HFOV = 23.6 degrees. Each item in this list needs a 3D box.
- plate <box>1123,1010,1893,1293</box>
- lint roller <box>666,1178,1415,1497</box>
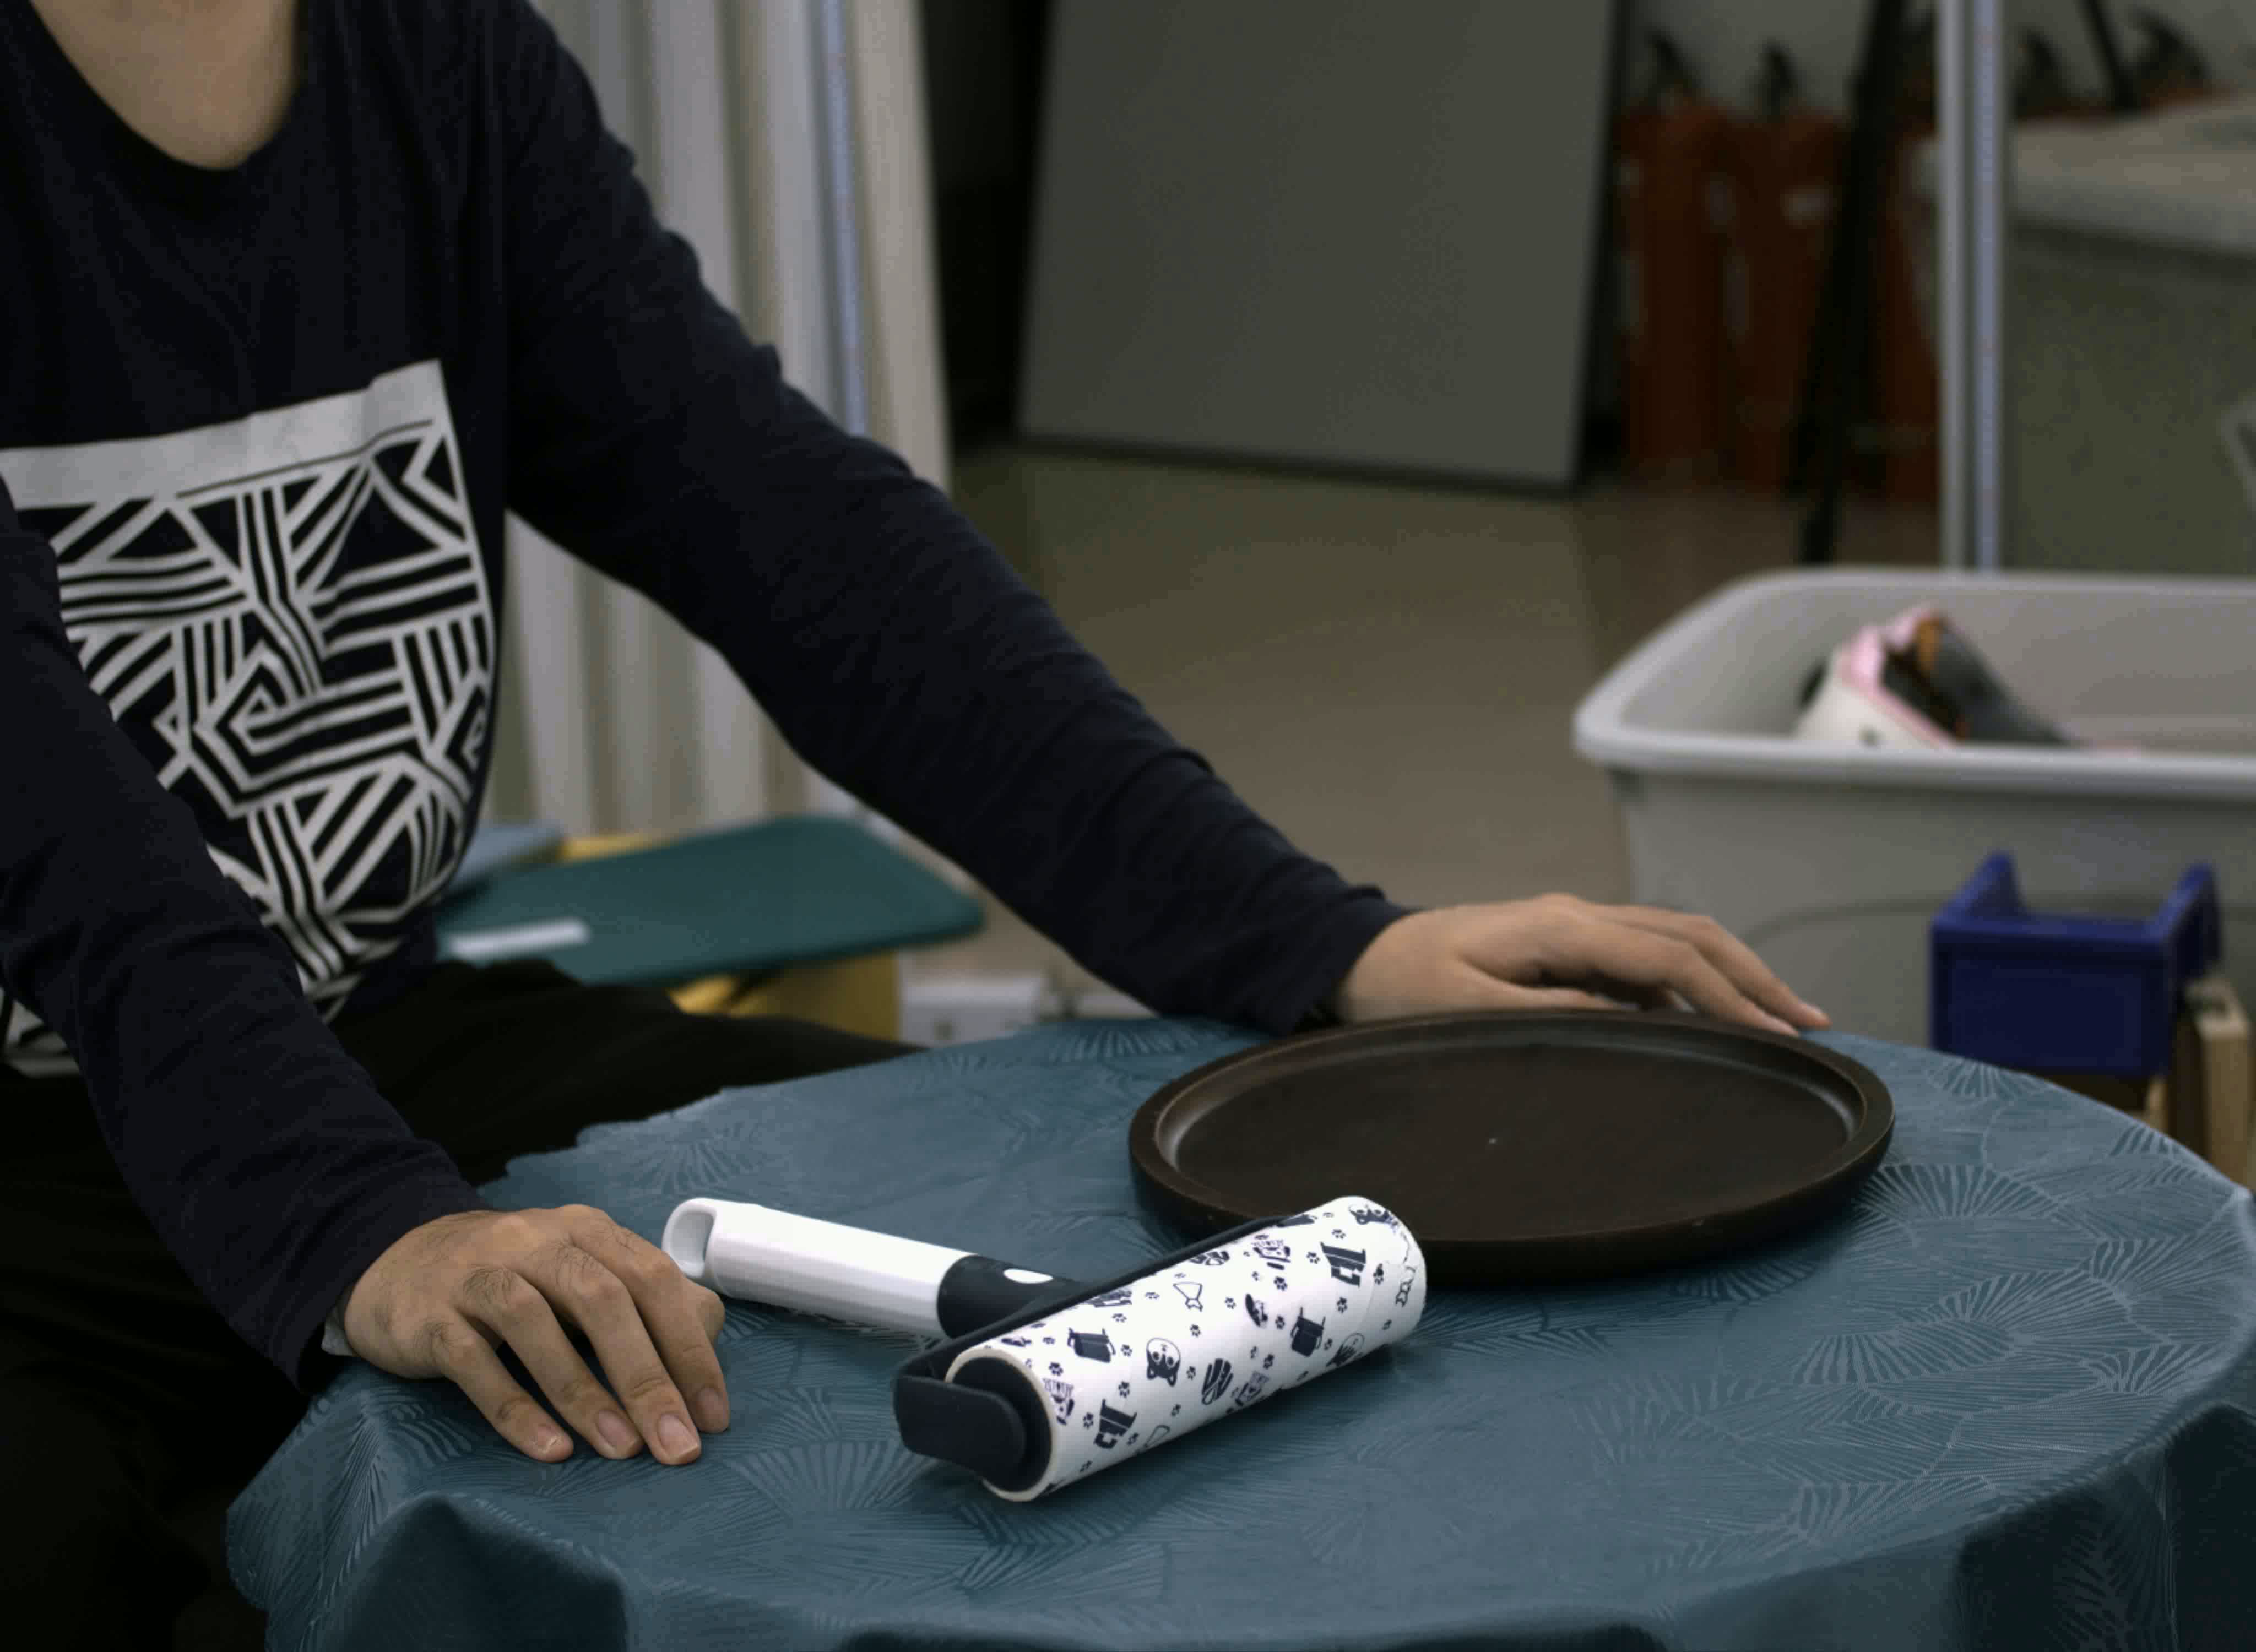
[{"bbox_3d":[0.124,0.104,1.760,0.251,0.029,0.255,-5,12,0],"label":"plate"},{"bbox_3d":[-0.056,0.141,1.624,0.249,0.051,0.173,5,17,44],"label":"lint roller"}]
